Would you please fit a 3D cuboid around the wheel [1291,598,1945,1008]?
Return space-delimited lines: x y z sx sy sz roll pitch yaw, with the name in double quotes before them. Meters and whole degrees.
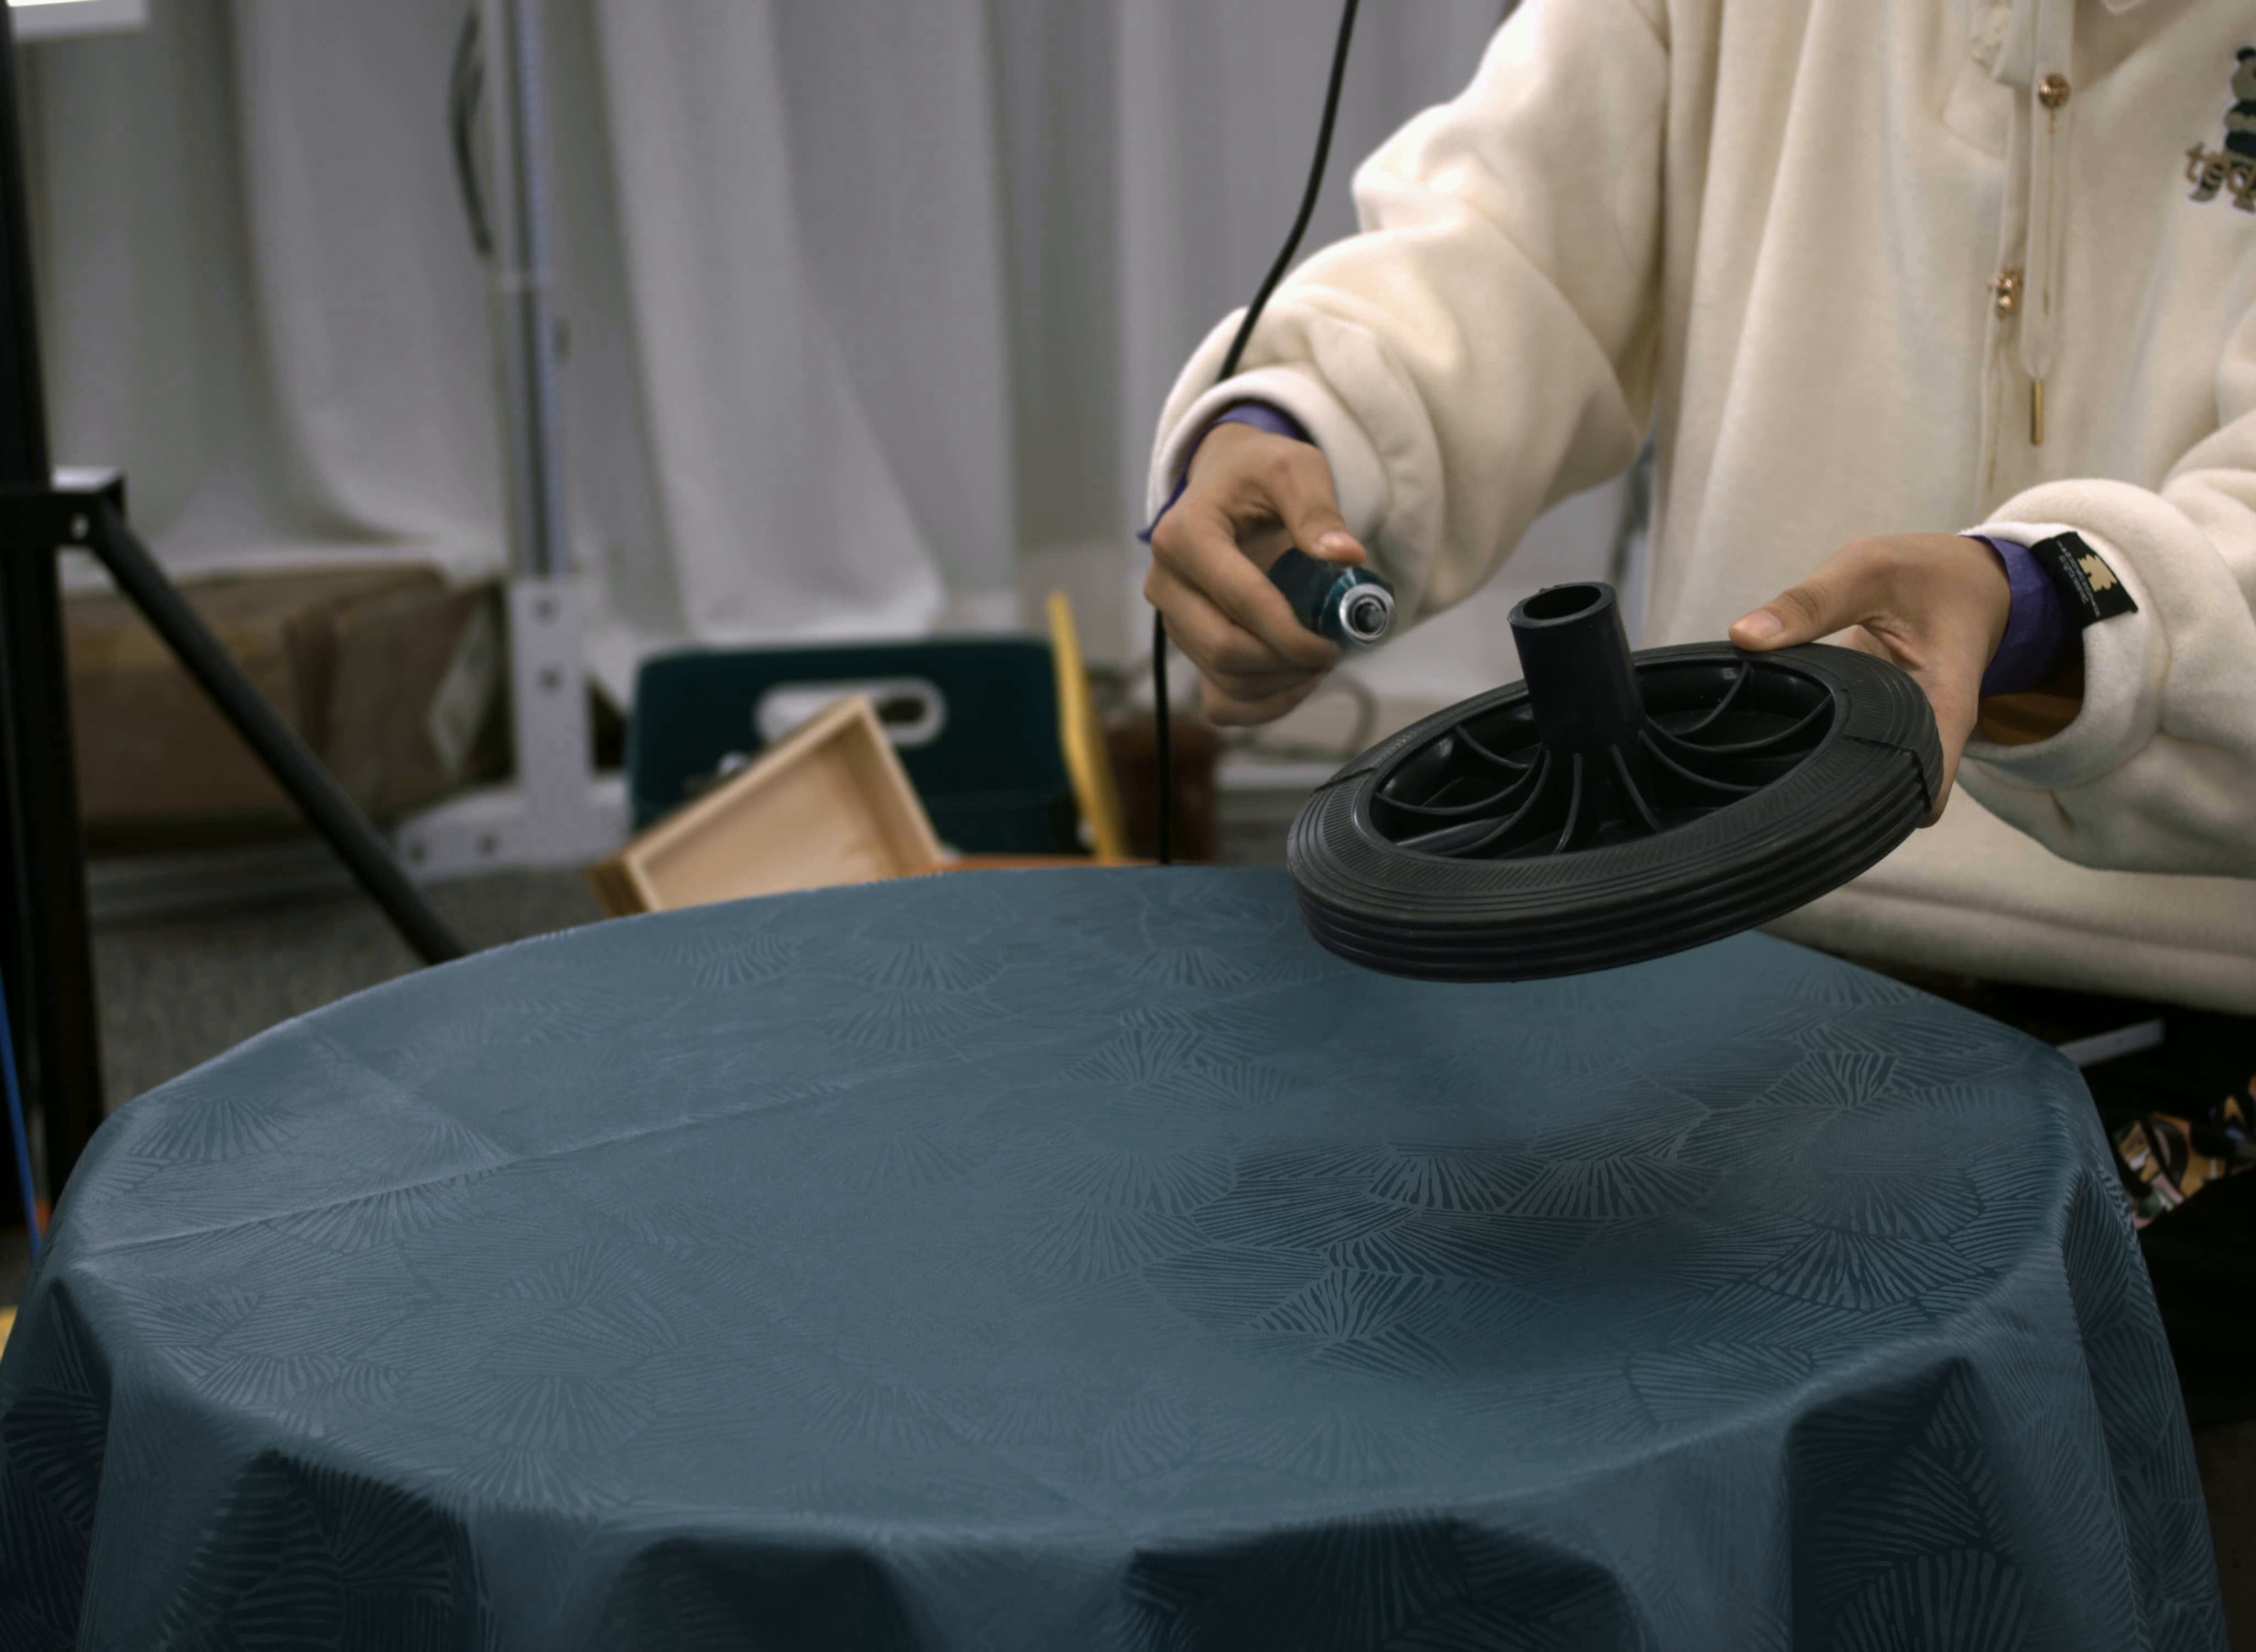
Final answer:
"wheel" 0.131 -0.021 1.490 0.187 0.078 0.191 -27 22 -20

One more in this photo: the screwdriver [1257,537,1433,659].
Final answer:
"screwdriver" 0.072 -0.066 1.669 0.033 0.034 0.192 -5 10 -10
